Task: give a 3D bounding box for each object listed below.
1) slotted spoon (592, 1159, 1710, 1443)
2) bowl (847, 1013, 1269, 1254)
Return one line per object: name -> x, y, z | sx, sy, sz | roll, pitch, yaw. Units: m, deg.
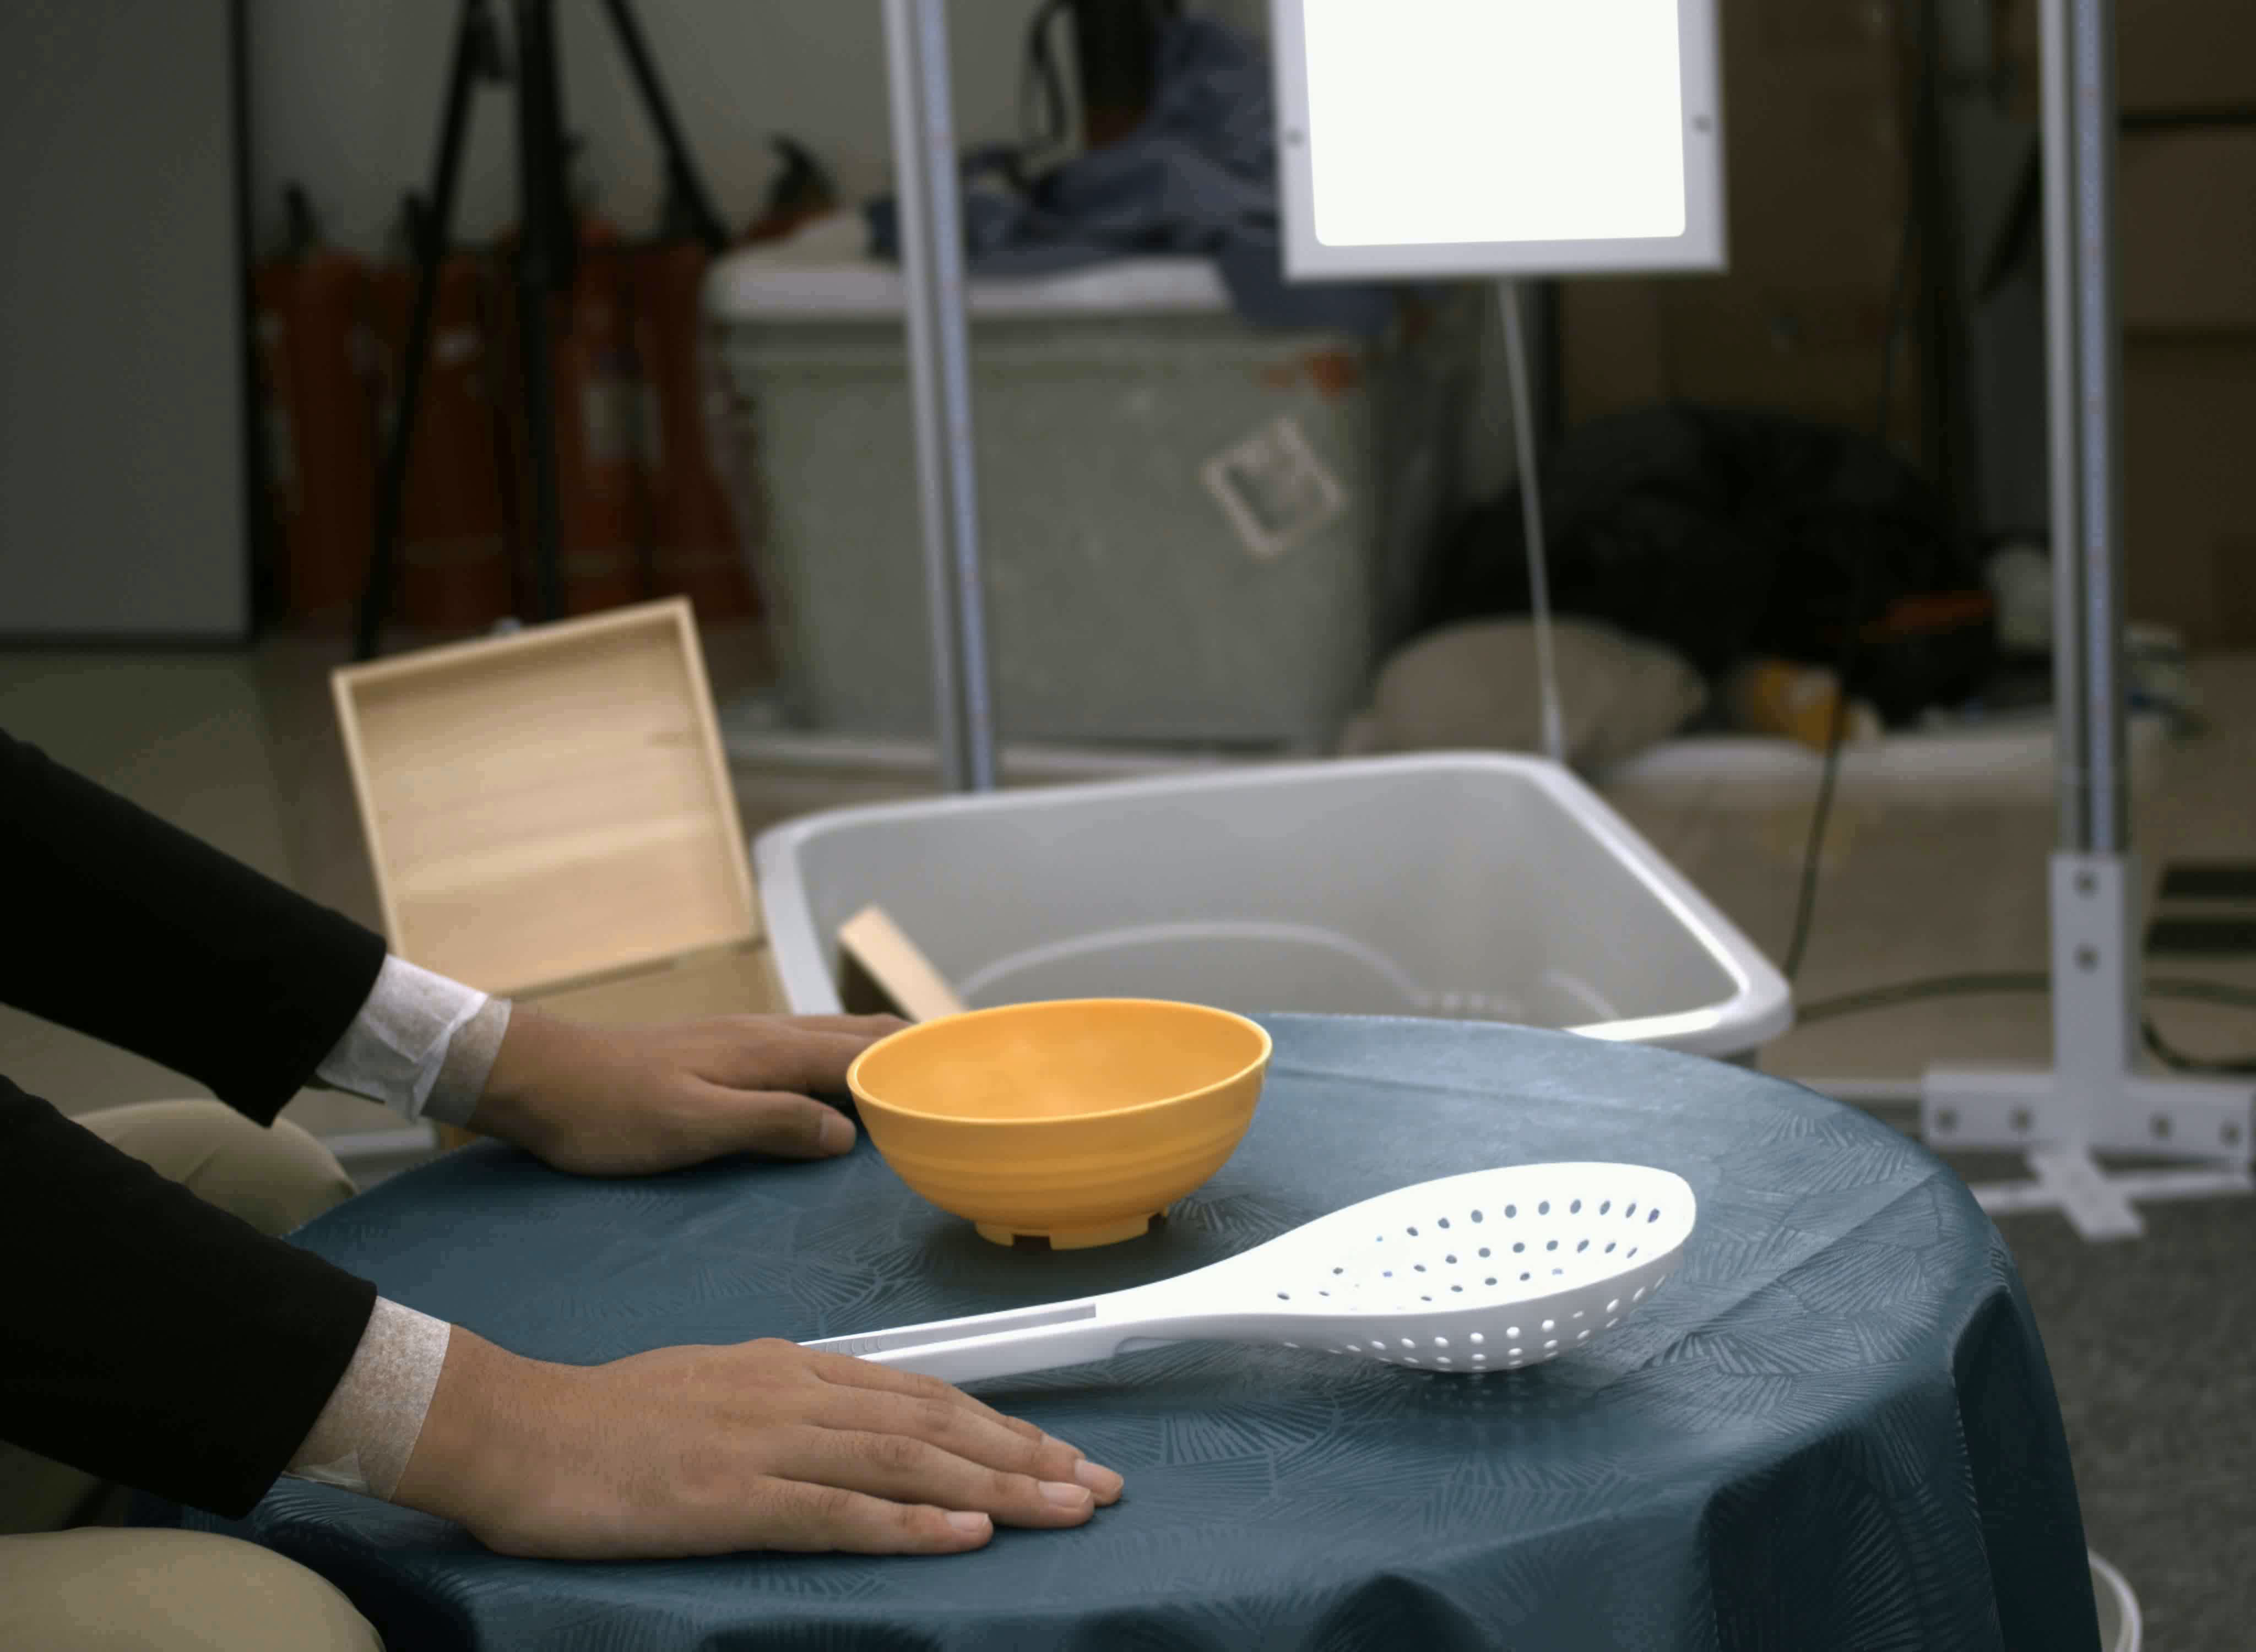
slotted spoon -> 0.007, 0.151, 1.699 | 0.349, 0.046, 0.136 | -6, 13, 2
bowl -> -0.022, 0.108, 1.865 | 0.145, 0.060, 0.145 | -4, 12, 0
